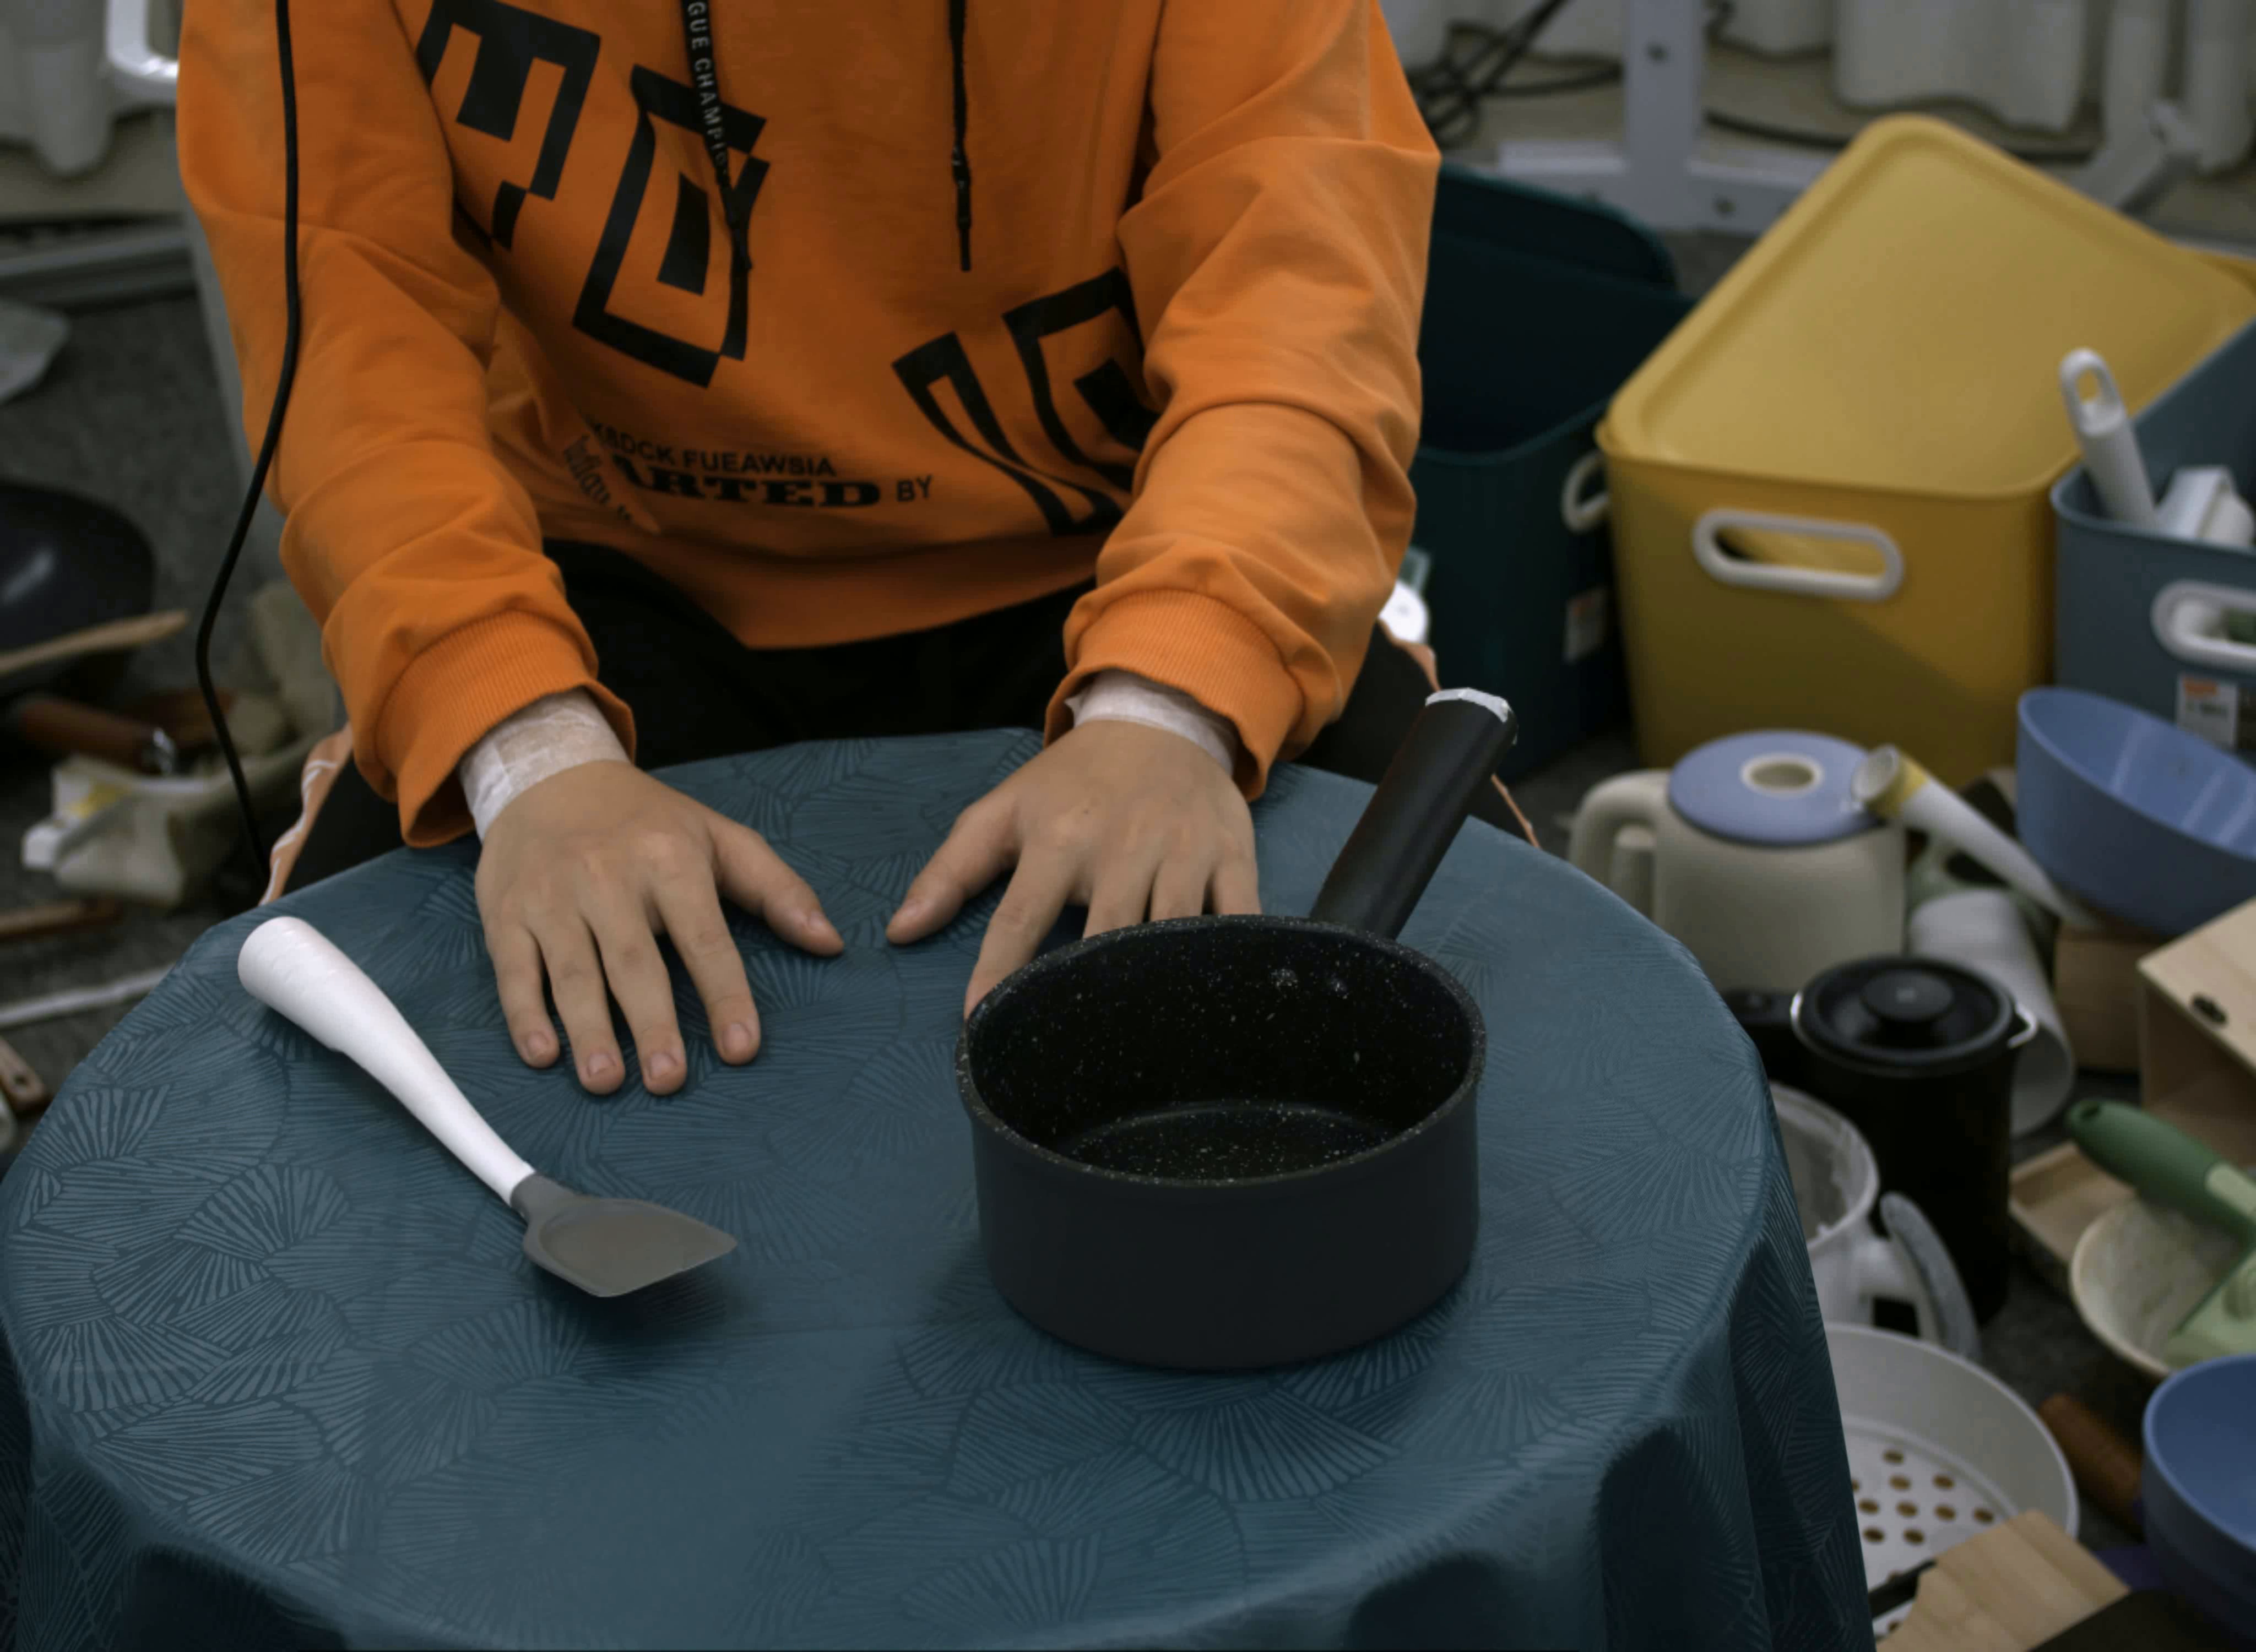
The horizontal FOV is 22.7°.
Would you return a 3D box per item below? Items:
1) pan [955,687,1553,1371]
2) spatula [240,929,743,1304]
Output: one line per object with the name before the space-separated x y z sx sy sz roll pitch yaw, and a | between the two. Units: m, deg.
pan | 0.065 0.063 1.876 0.171 0.085 0.334 10 32 23
spatula | -0.221 0.101 1.889 0.059 0.032 0.288 -14 28 -31
